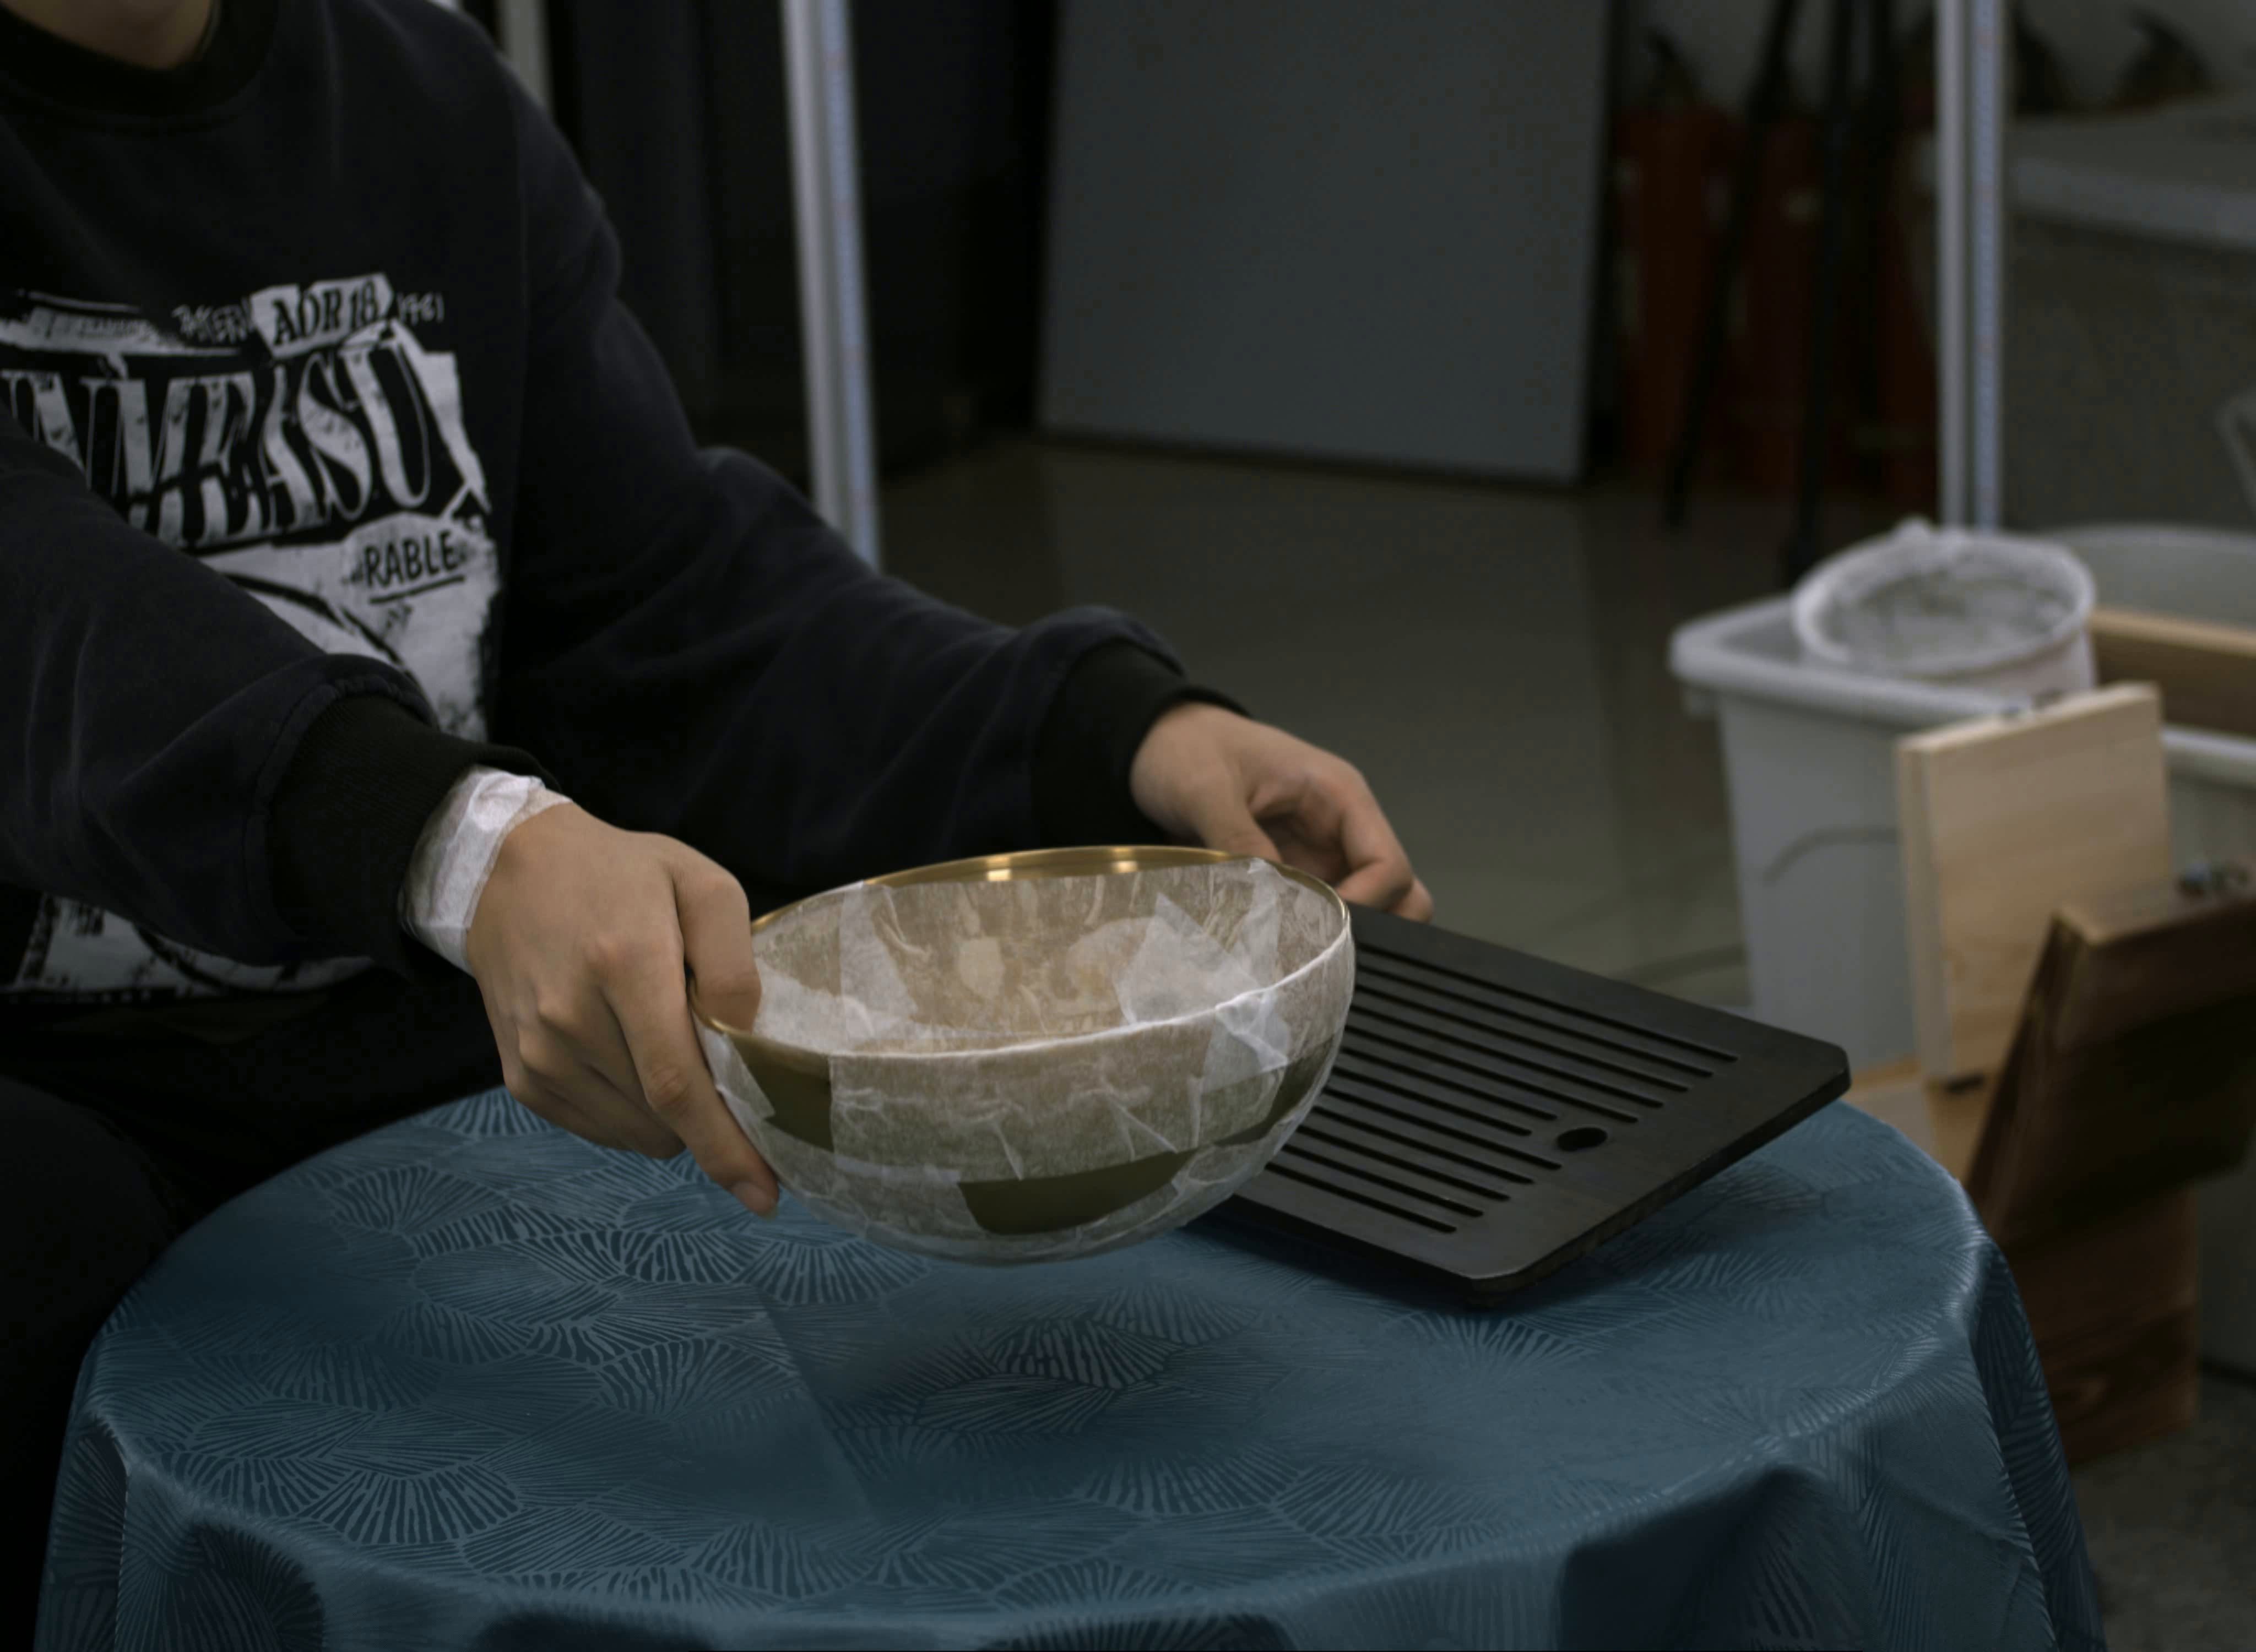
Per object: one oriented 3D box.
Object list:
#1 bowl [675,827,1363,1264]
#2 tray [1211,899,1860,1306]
[{"bbox_3d":[-0.027,0.072,1.603,0.212,0.095,0.215,-7,16,1],"label":"bowl"},{"bbox_3d":[0.081,0.084,1.777,0.167,0.019,0.309,-28,27,-32],"label":"tray"}]
